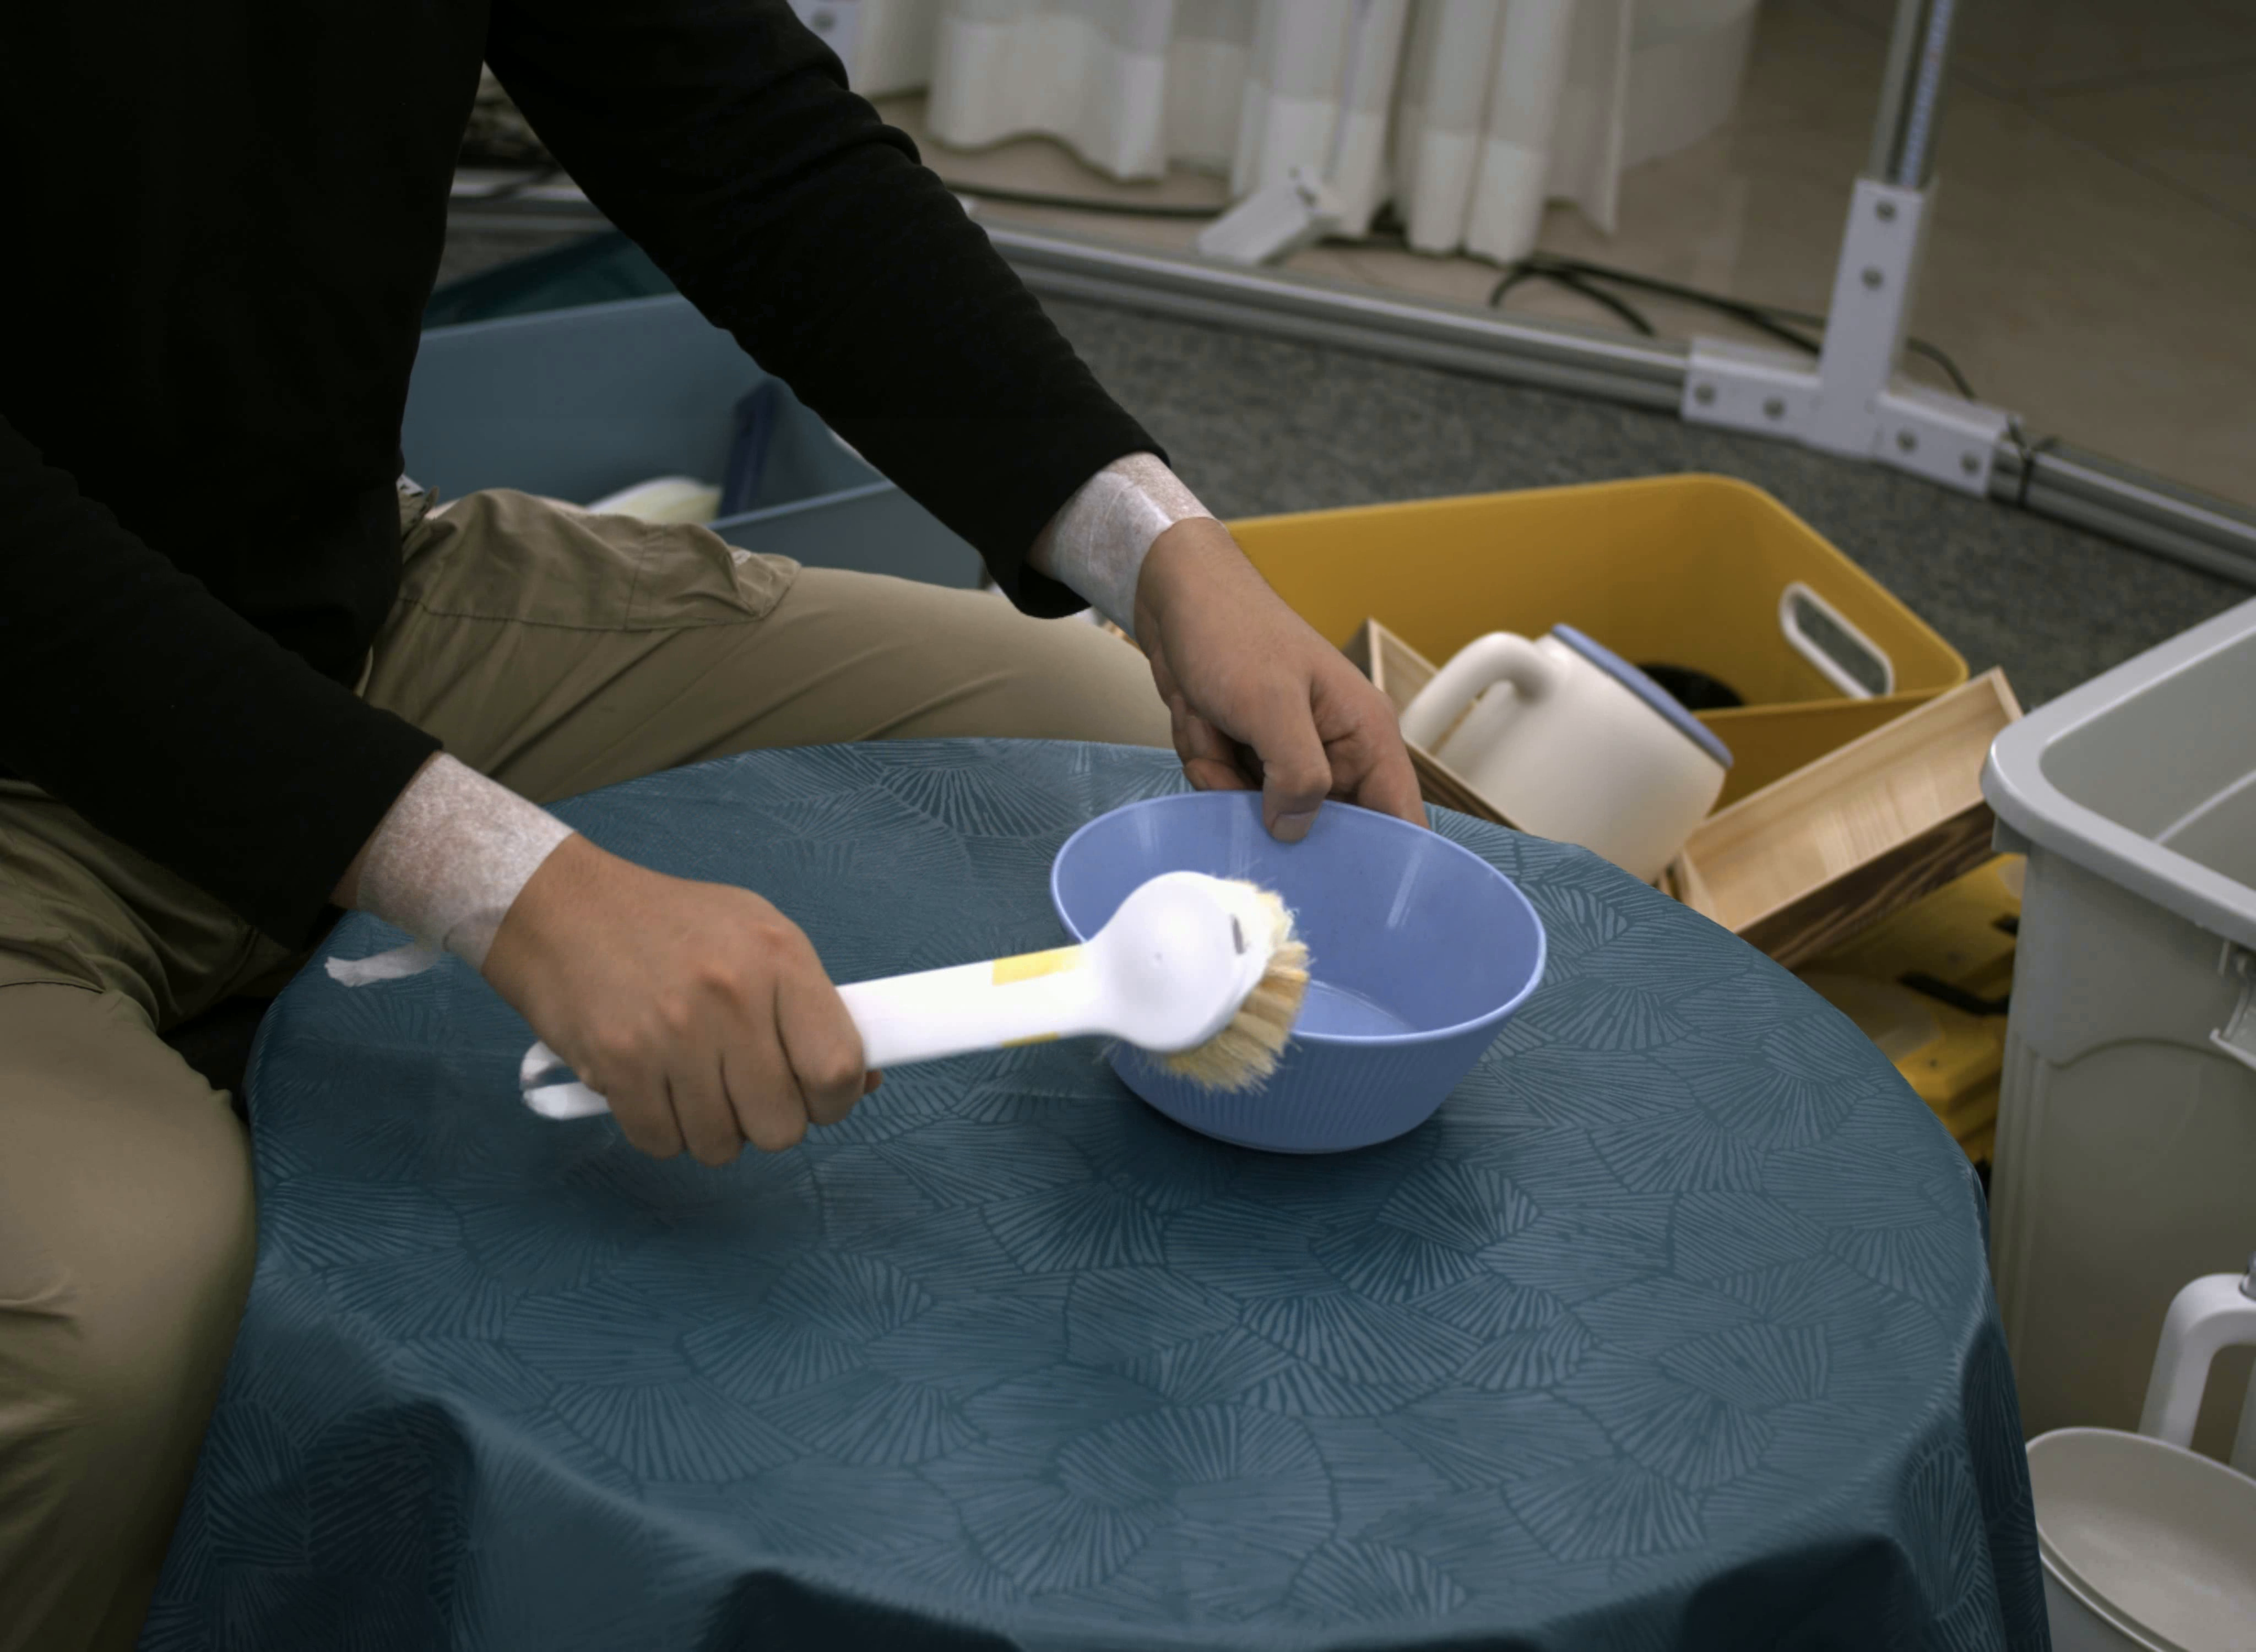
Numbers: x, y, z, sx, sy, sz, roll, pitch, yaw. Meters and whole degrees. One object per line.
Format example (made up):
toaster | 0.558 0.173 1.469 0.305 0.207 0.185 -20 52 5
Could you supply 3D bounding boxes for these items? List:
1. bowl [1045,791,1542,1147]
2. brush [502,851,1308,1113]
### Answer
bowl | 0.053 0.056 1.863 0.175 0.070 0.177 8 27 -4
brush | -0.072 0.063 1.740 0.266 0.055 0.069 -13 59 11
